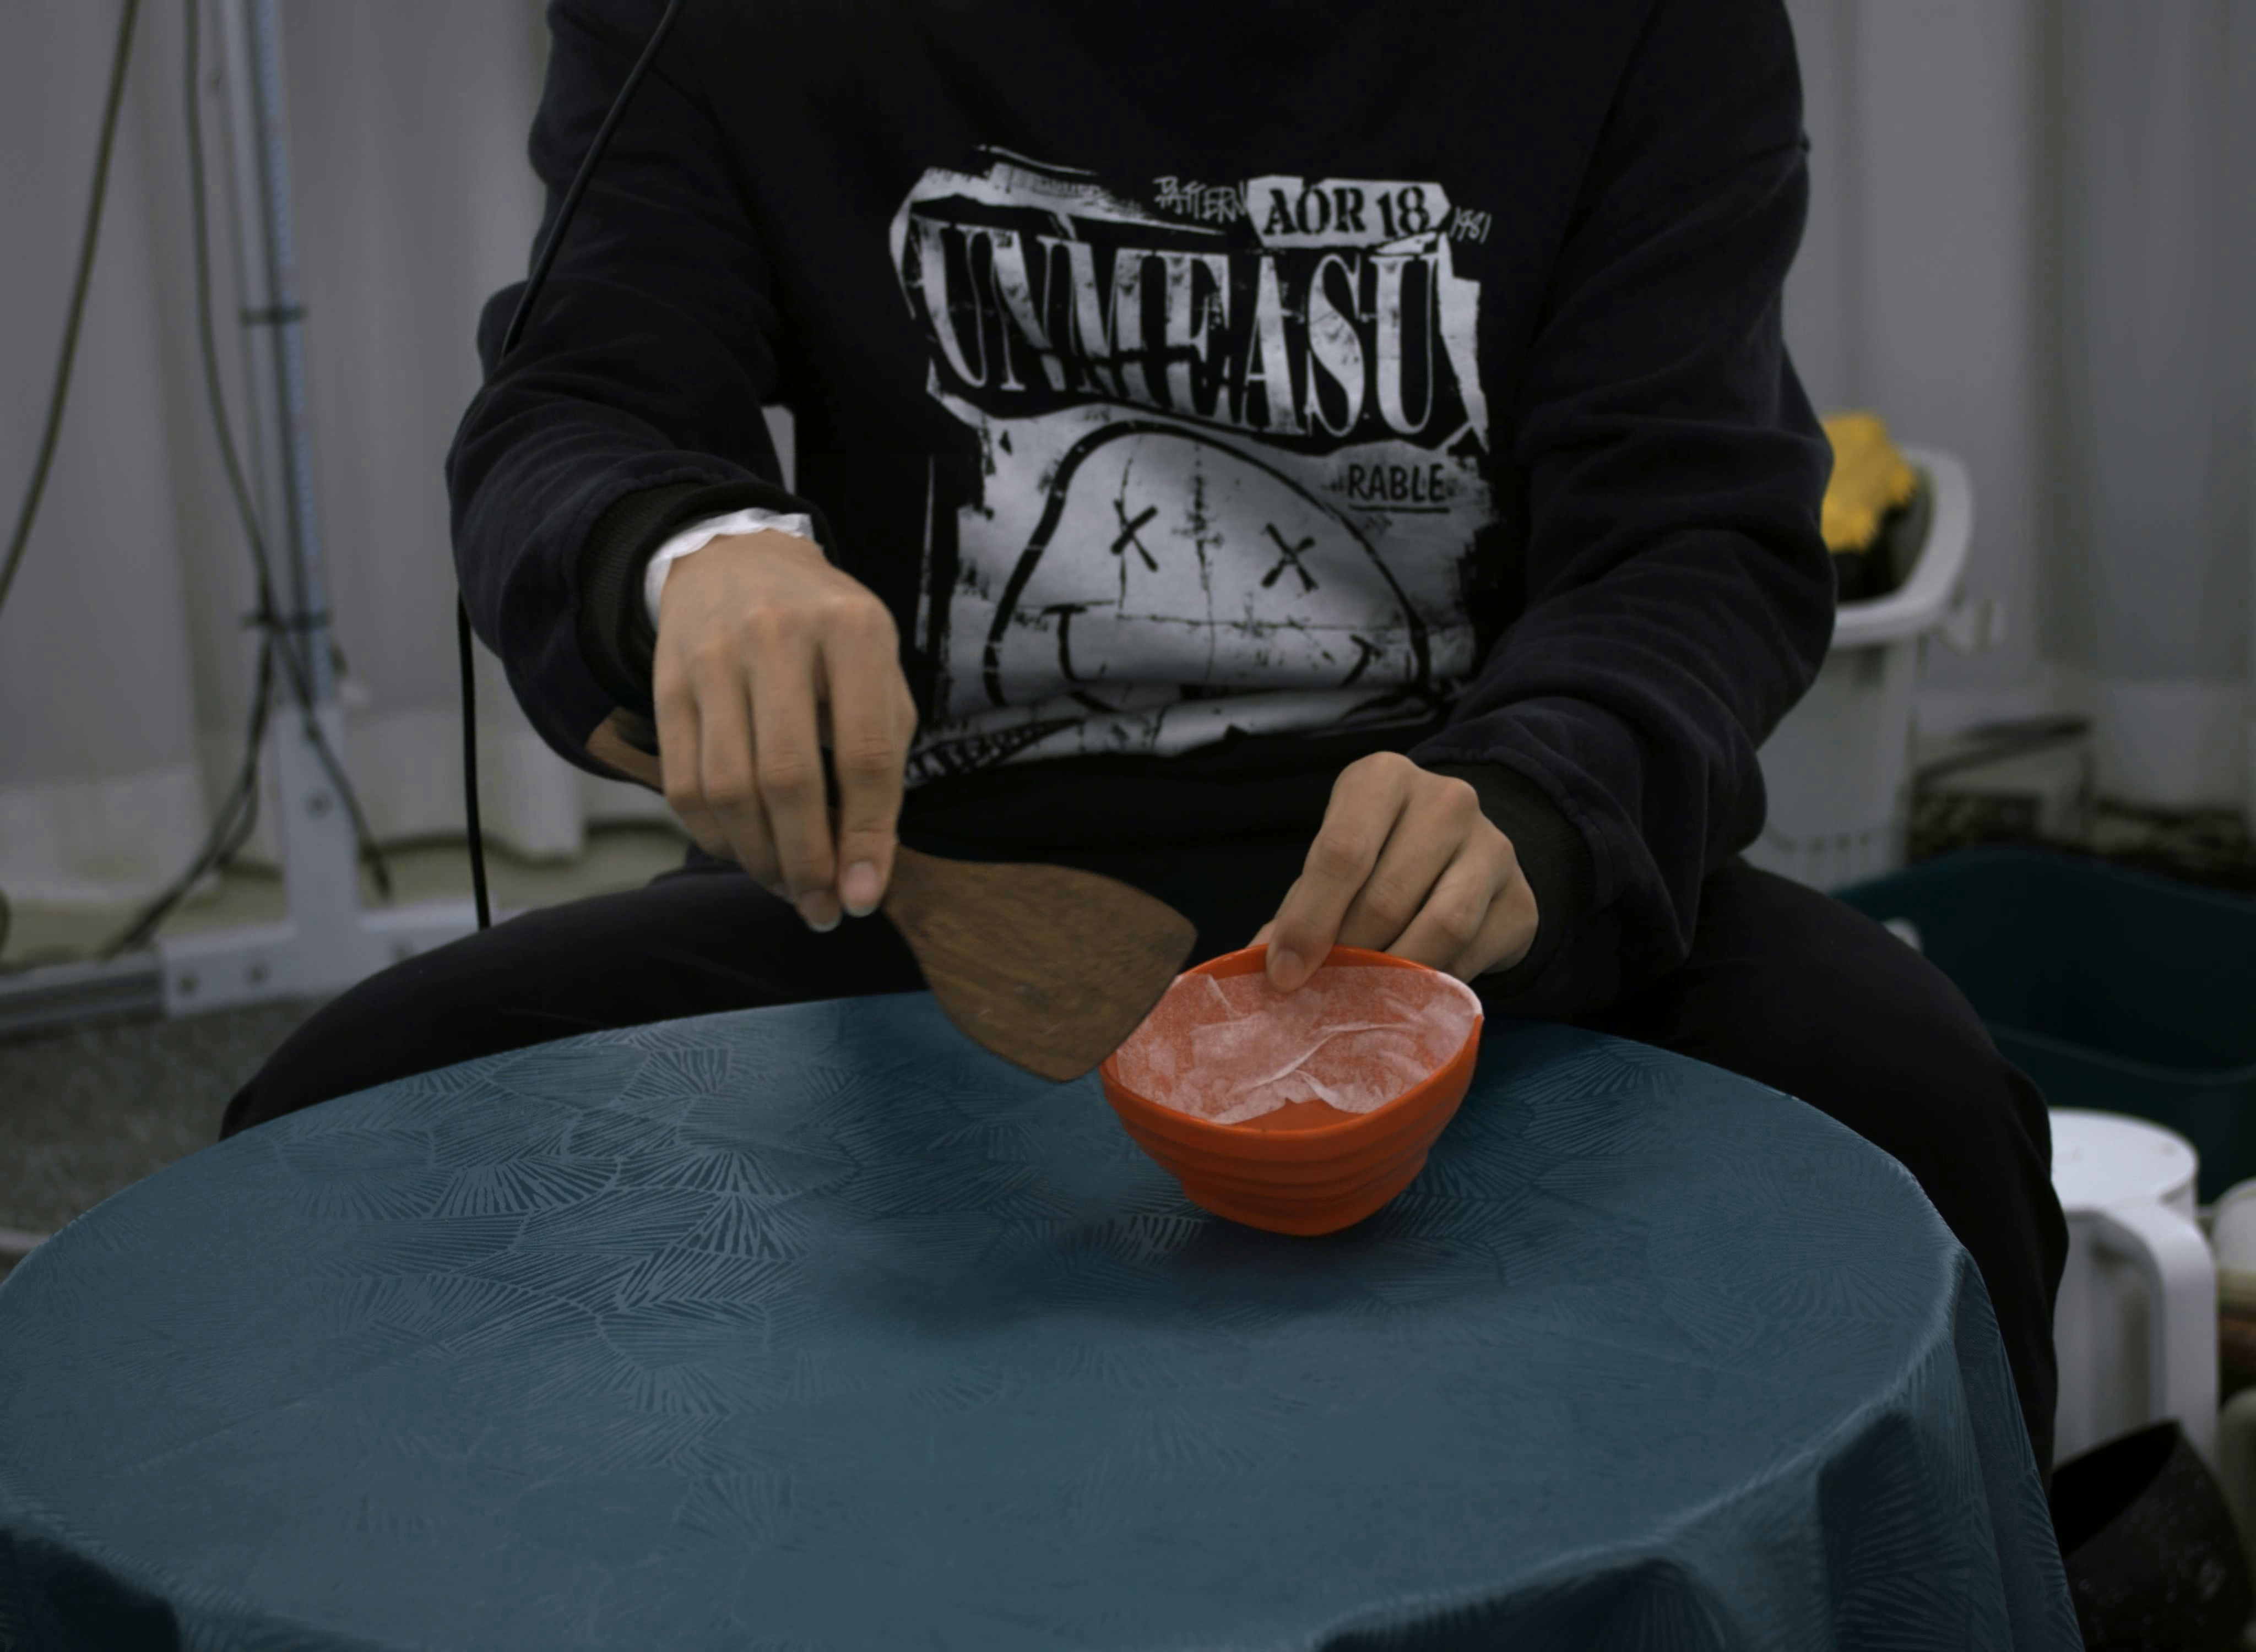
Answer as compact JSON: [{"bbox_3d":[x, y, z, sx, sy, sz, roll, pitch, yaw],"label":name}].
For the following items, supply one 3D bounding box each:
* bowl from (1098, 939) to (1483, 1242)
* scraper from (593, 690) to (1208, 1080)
[{"bbox_3d":[0.052,0.085,1.671,0.118,0.051,0.120,-6,29,3],"label":"bowl"},{"bbox_3d":[-0.076,0.010,1.674,0.212,0.010,0.076,28,59,23],"label":"scraper"}]
